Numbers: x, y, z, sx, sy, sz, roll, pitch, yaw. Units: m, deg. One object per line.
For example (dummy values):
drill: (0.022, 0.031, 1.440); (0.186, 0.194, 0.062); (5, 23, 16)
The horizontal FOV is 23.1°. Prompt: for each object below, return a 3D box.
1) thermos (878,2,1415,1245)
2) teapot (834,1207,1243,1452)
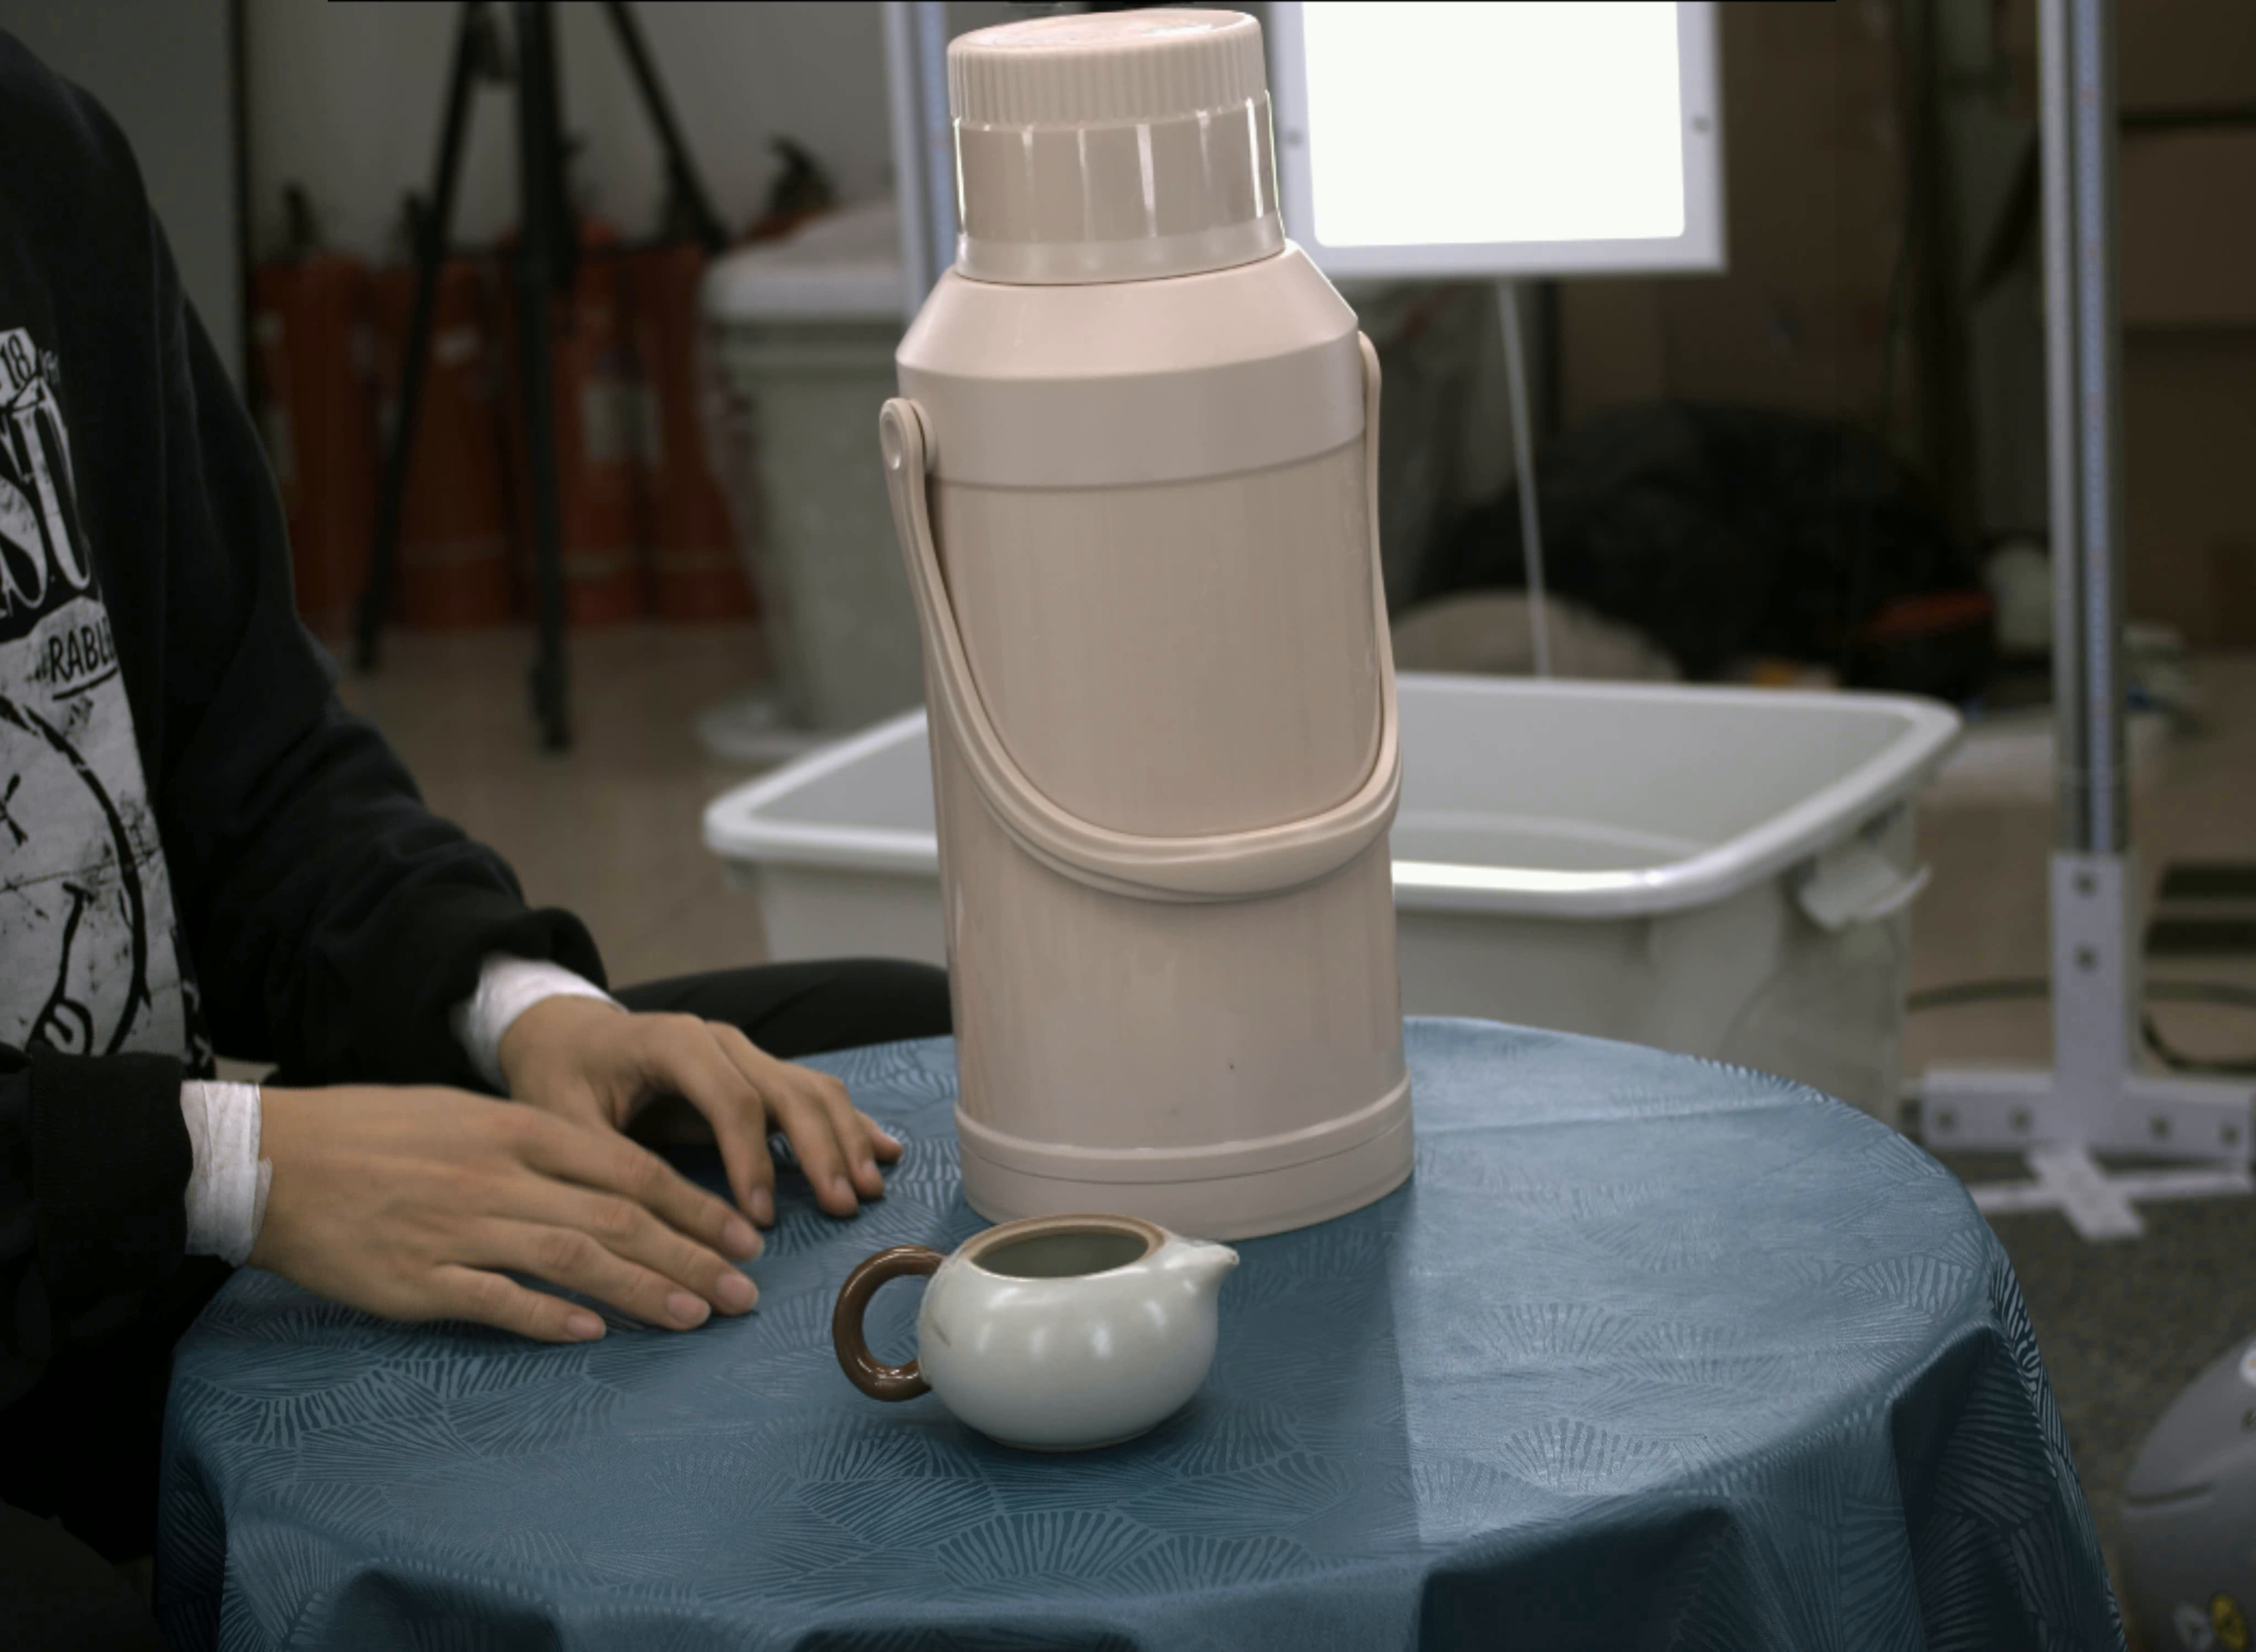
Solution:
thermos: (0.002, -0.073, 1.878); (0.172, 0.408, 0.210); (-12, 16, -22)
teapot: (-0.027, 0.153, 1.677); (0.129, 0.060, 0.091); (-1, 19, 10)
